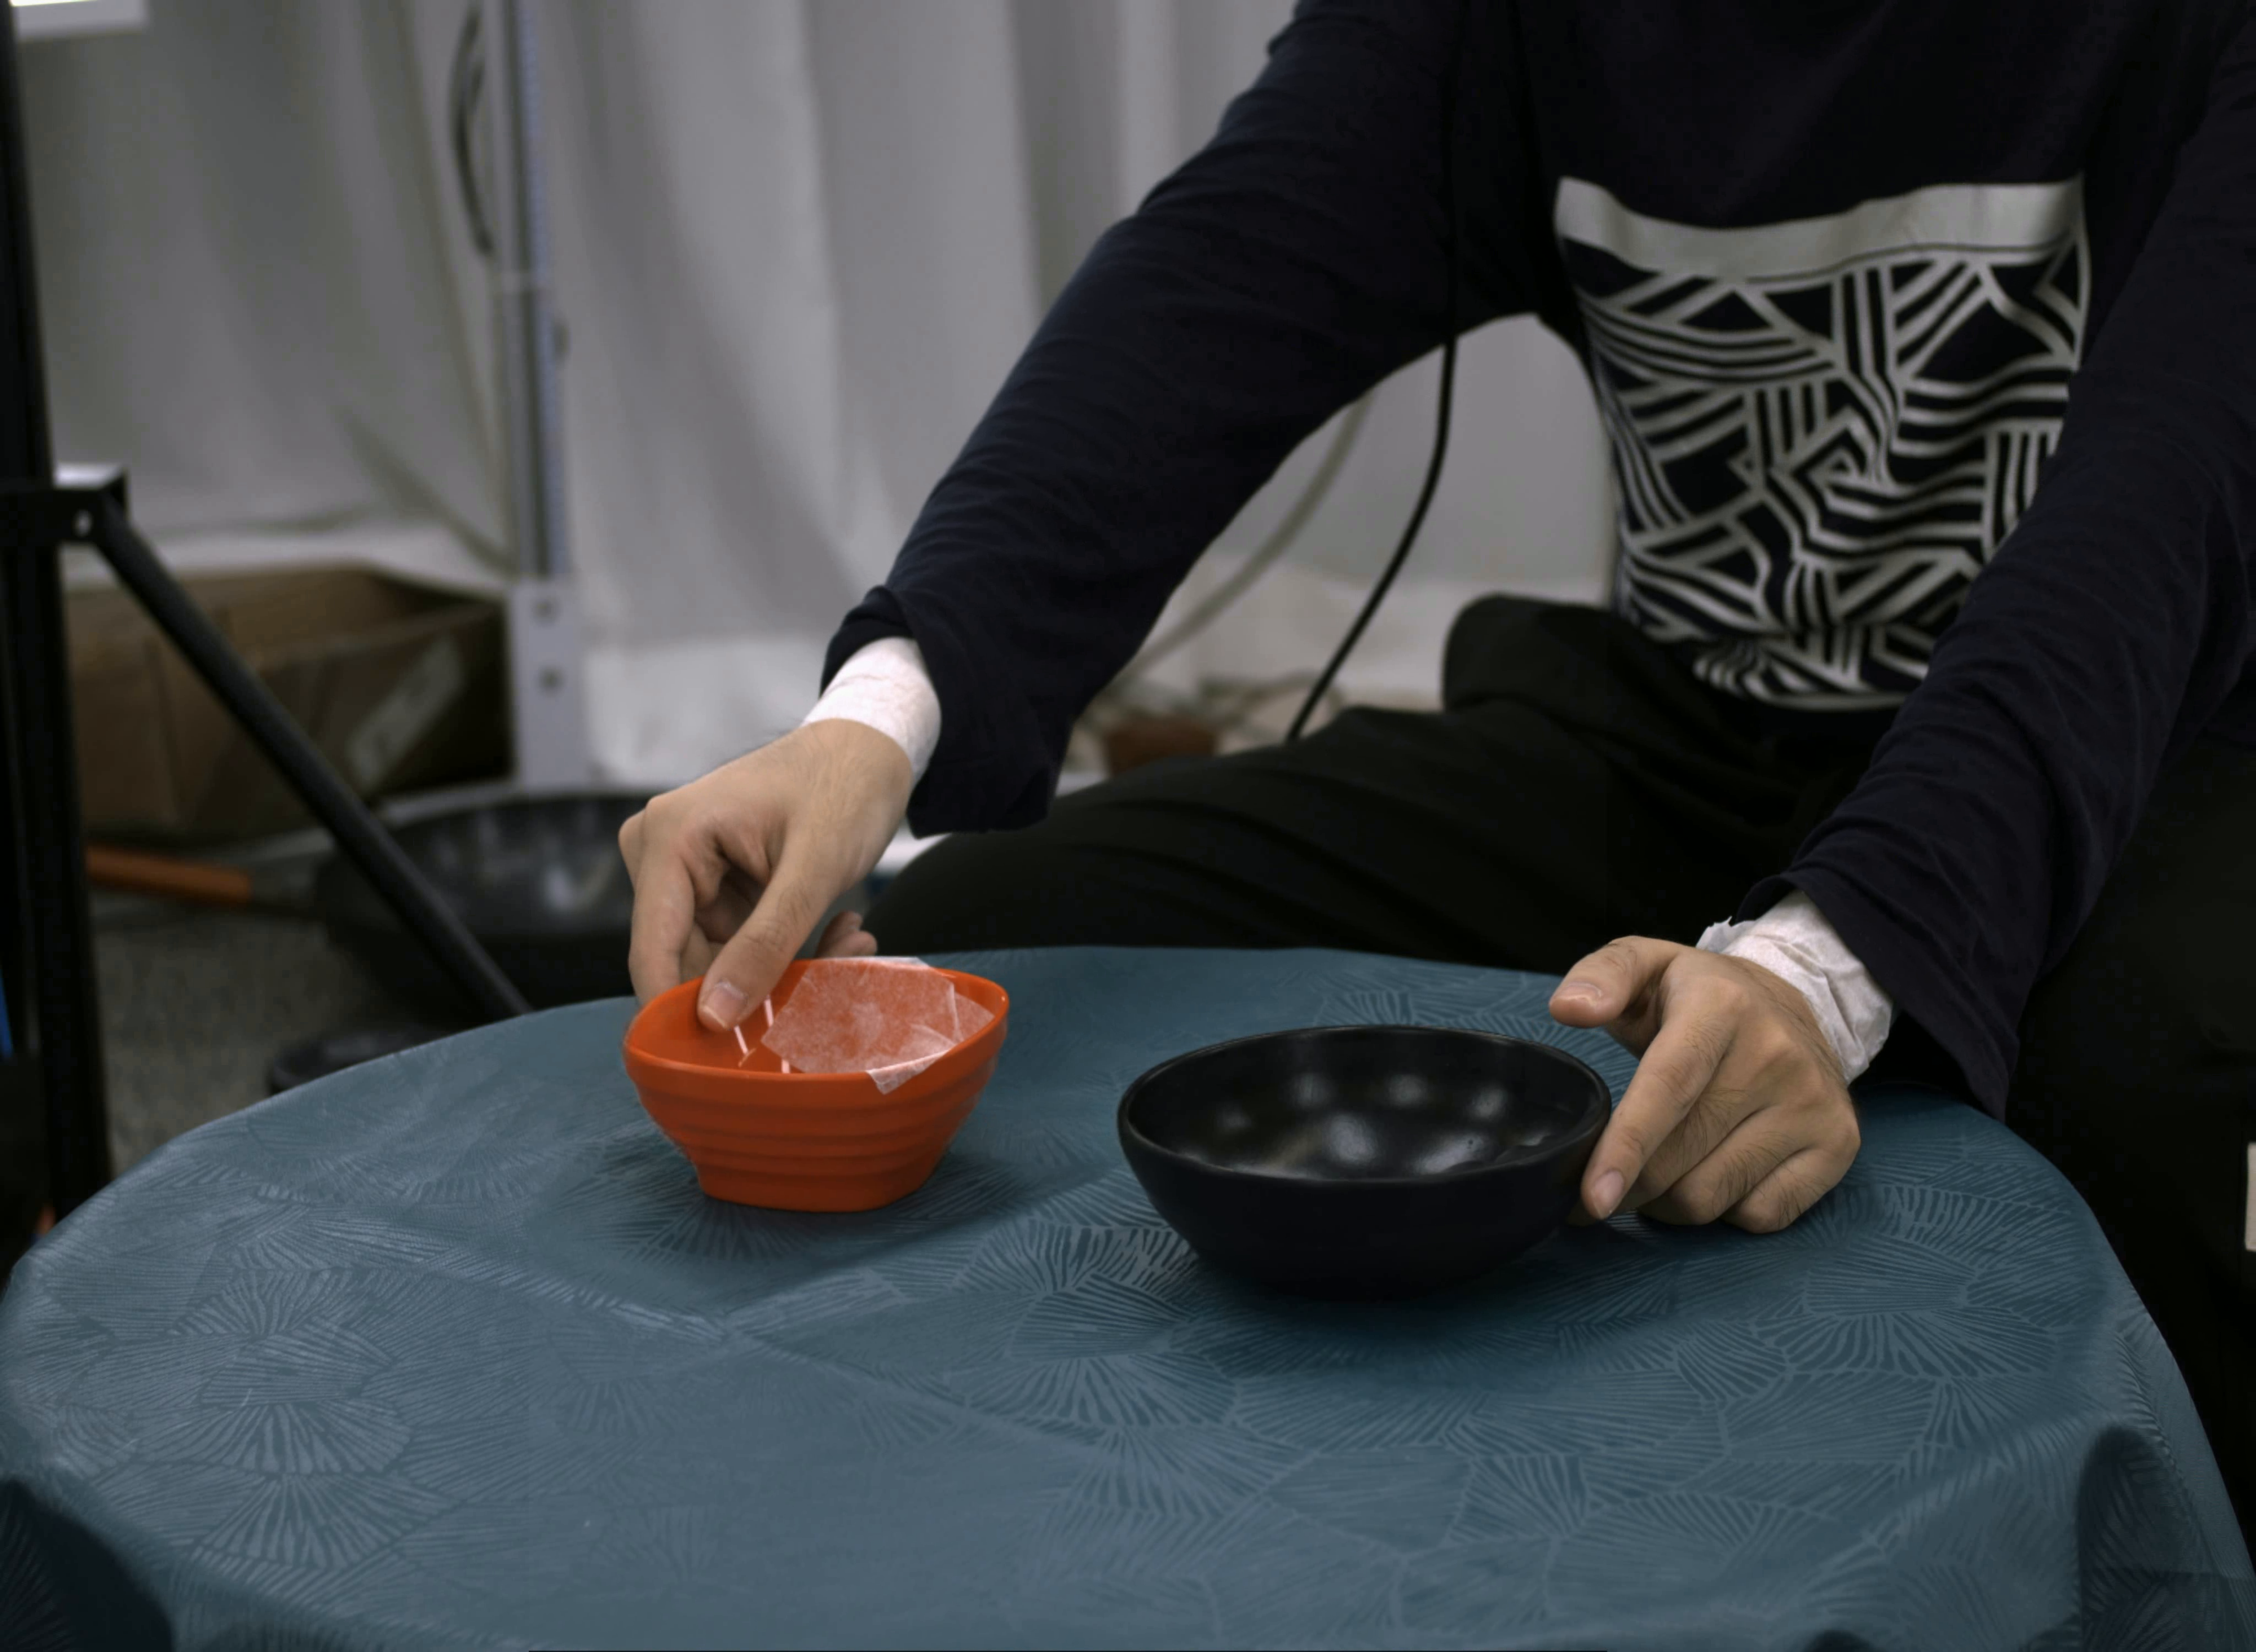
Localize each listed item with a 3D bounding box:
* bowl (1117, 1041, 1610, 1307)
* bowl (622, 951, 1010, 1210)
[{"bbox_3d":[0.067,0.102,1.491,0.139,0.050,0.140,-1,12,-1],"label":"bowl"},{"bbox_3d":[-0.091,0.078,1.584,0.118,0.051,0.119,-4,17,0],"label":"bowl"}]
